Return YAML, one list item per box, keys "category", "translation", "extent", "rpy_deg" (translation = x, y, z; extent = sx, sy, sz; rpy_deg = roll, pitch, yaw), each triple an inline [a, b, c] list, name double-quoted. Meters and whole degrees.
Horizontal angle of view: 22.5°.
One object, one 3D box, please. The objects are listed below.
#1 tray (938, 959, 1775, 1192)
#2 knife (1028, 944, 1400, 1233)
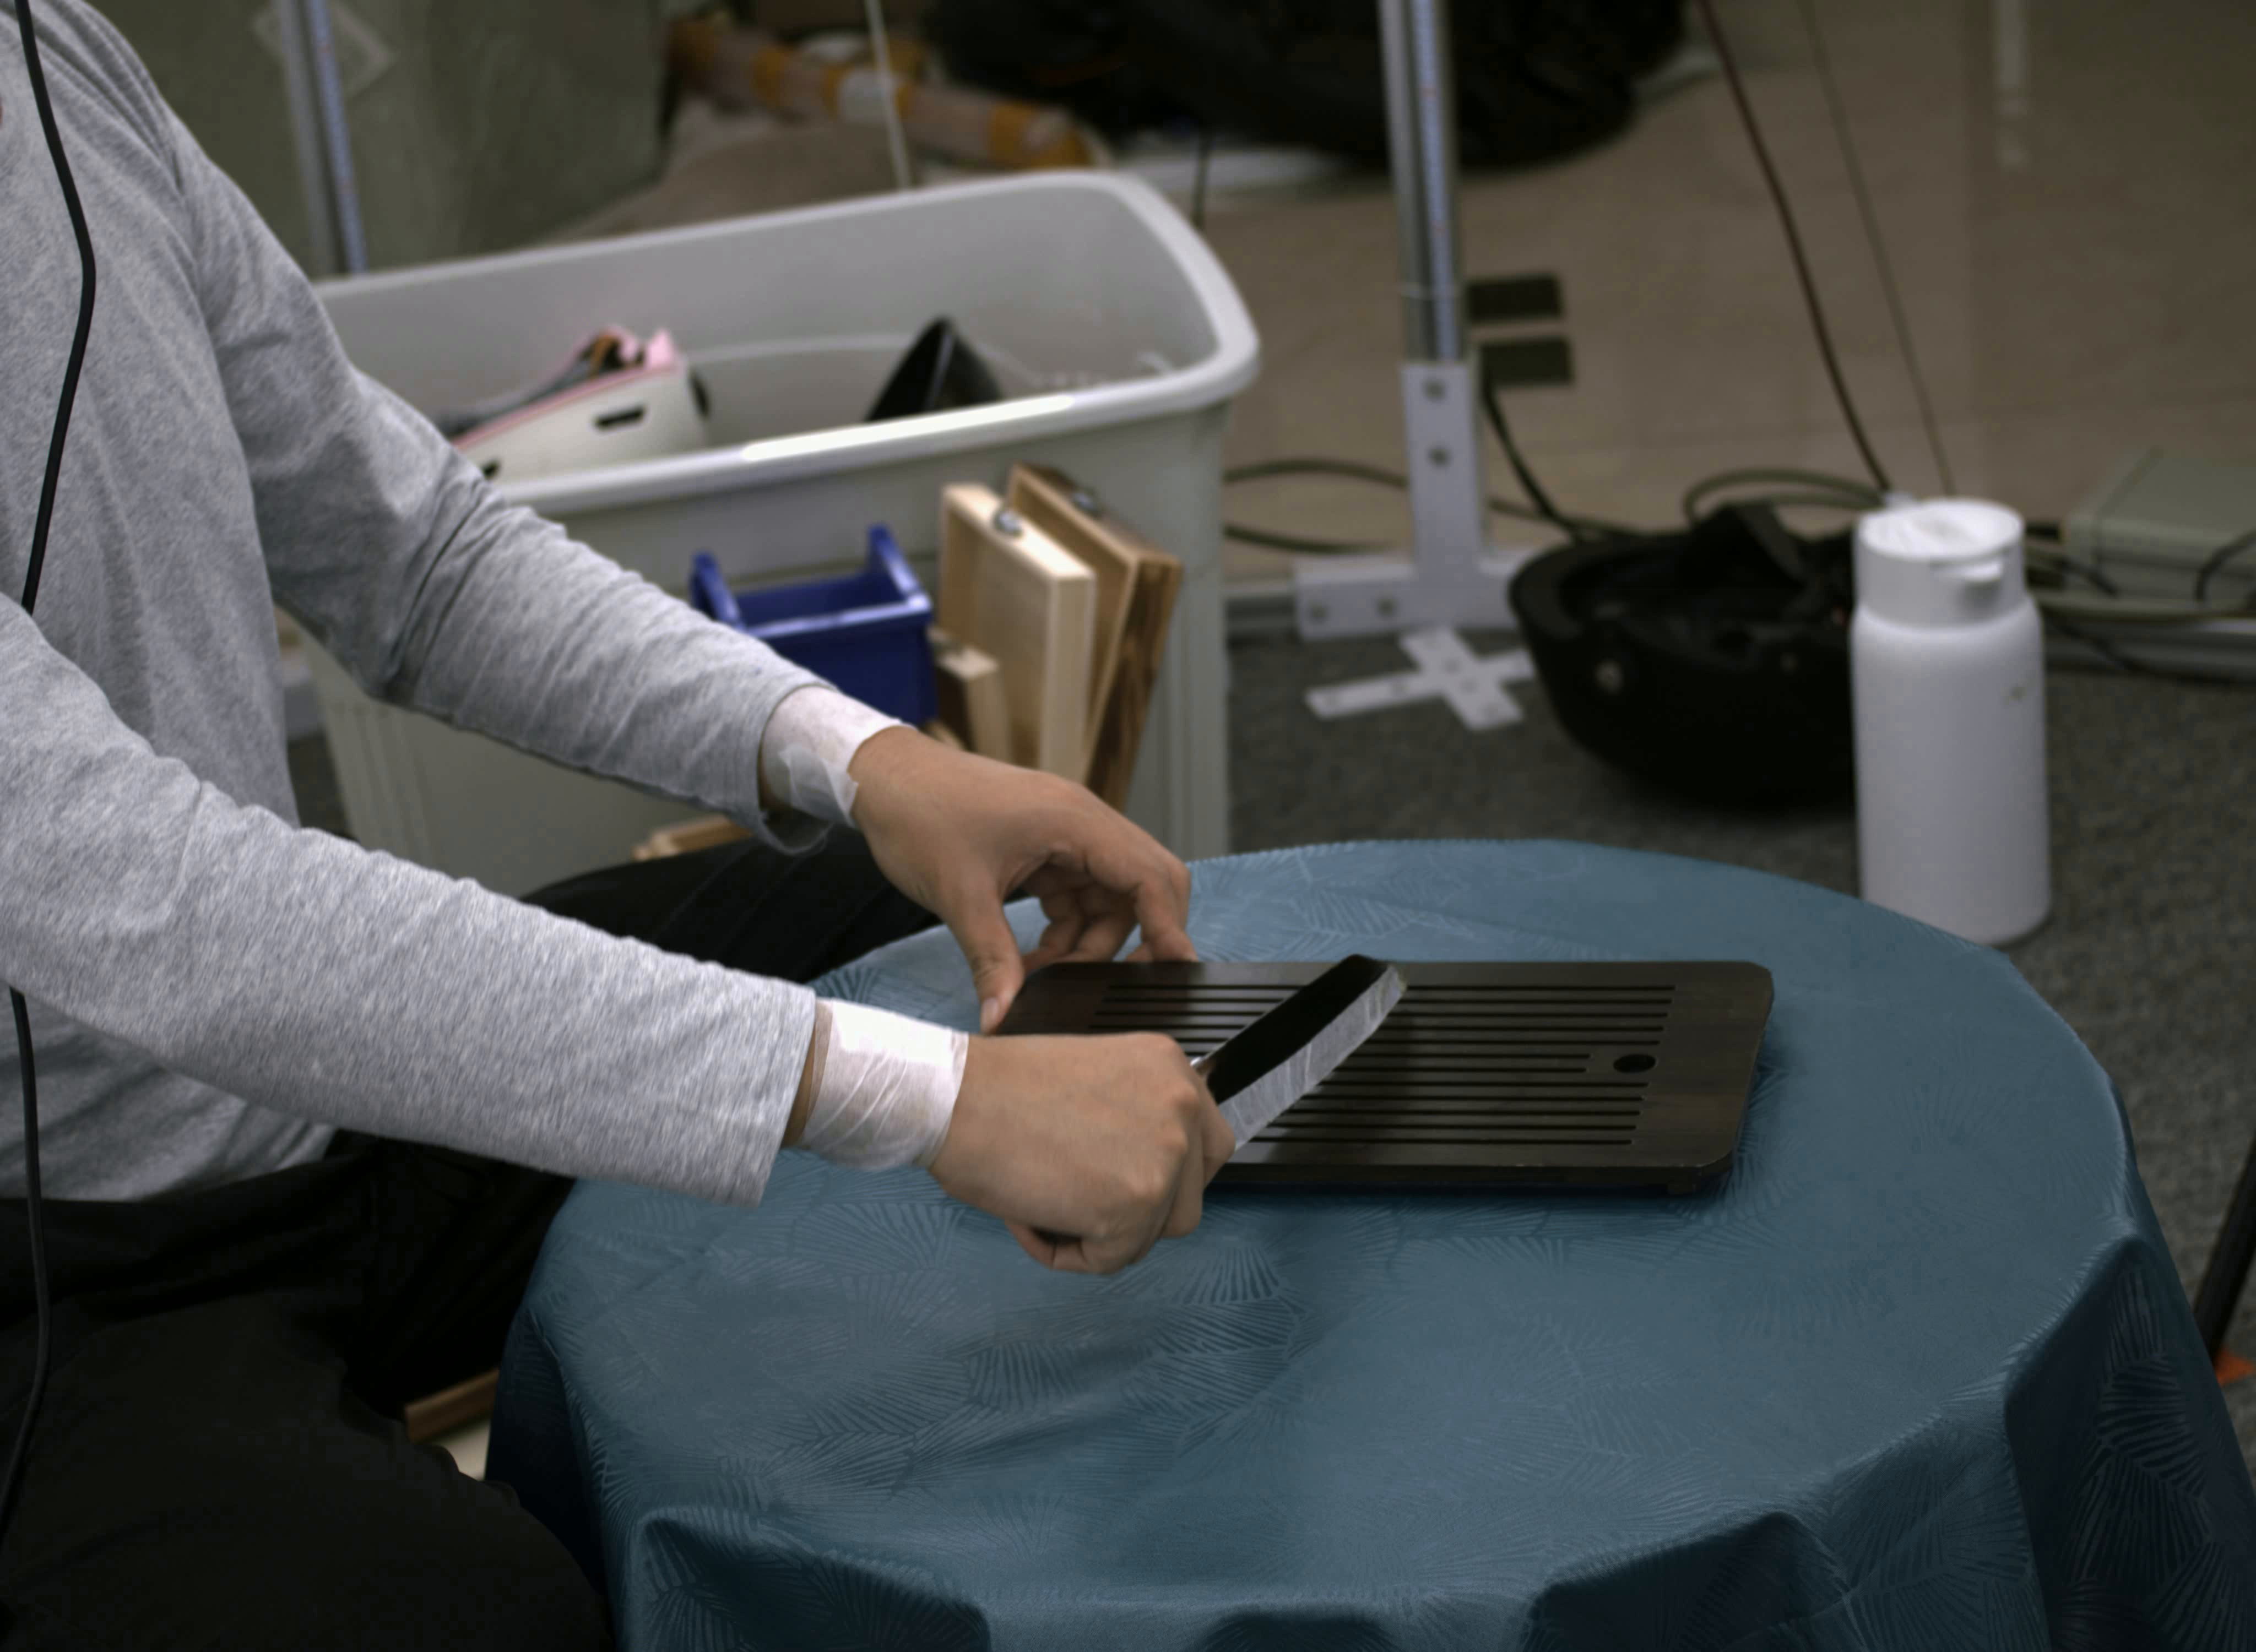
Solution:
- category: "tray"
  translation: [0.091, 0.096, 2.200]
  extent: [0.305, 0.019, 0.167]
  rpy_deg: [0, 26, 14]
- category: "knife"
  translation: [0.039, 0.096, 2.113]
  extent: [0.020, 0.051, 0.287]
  rpy_deg: [9, 19, 27]
